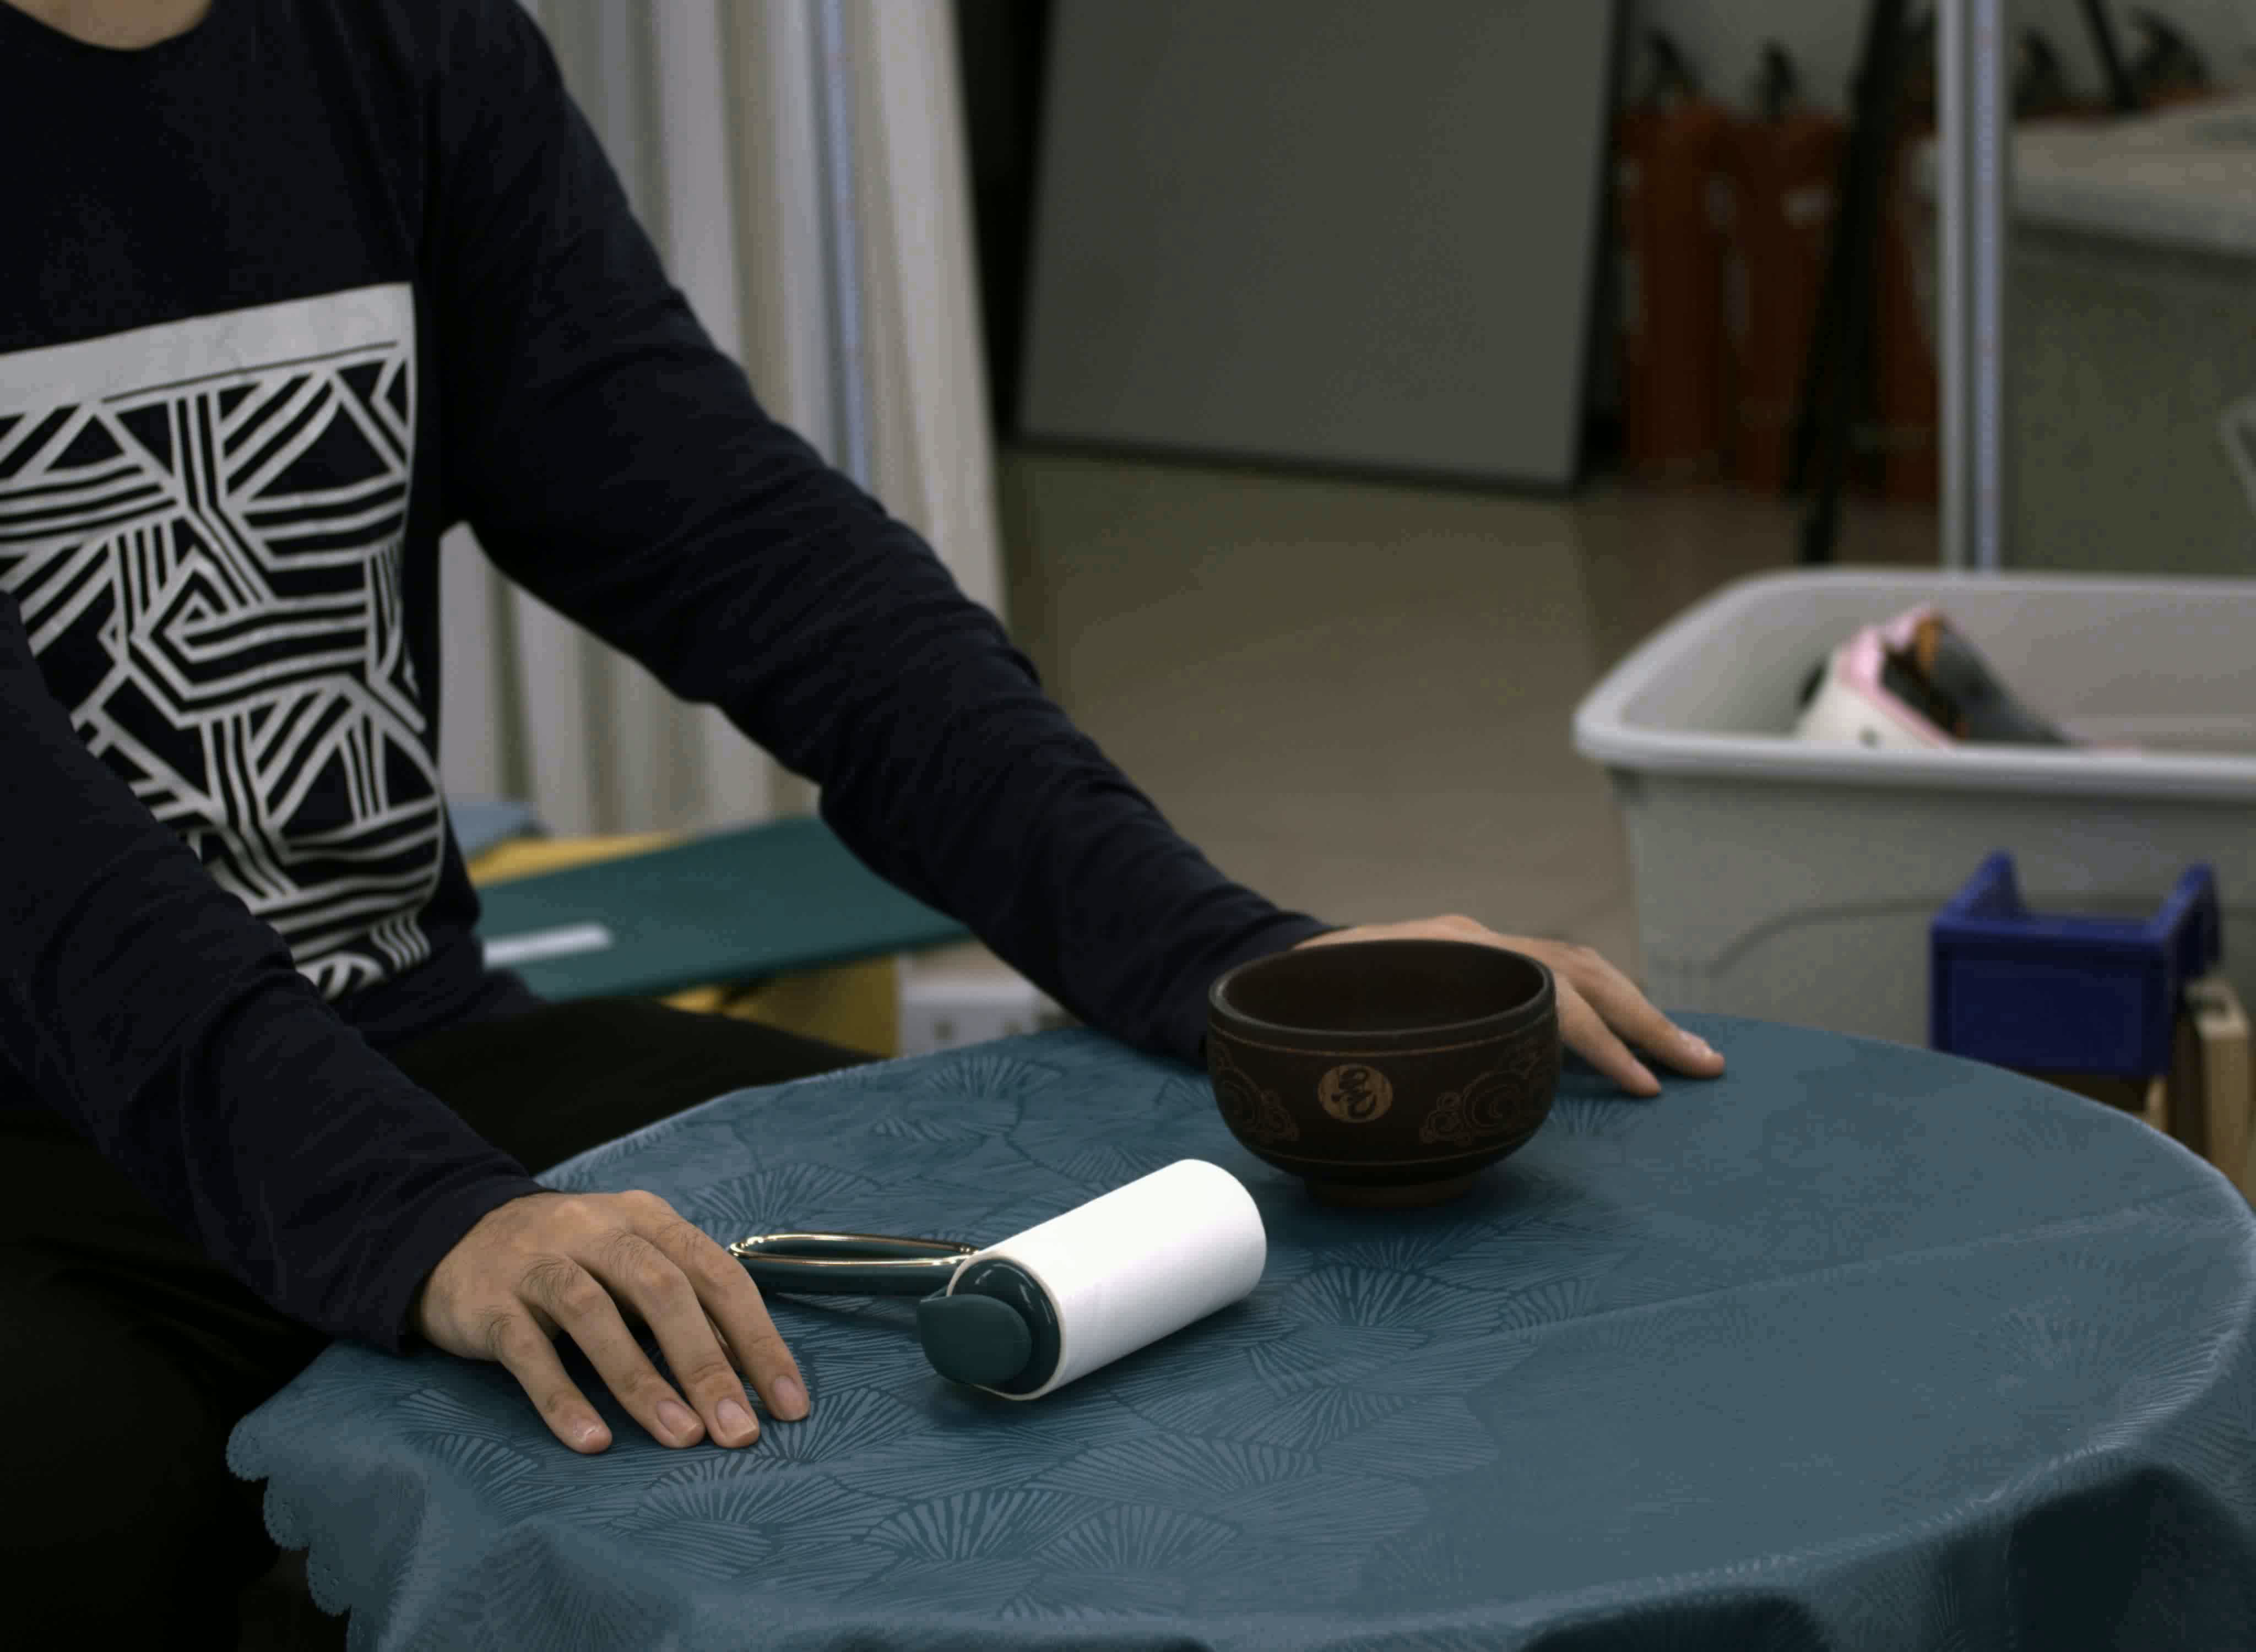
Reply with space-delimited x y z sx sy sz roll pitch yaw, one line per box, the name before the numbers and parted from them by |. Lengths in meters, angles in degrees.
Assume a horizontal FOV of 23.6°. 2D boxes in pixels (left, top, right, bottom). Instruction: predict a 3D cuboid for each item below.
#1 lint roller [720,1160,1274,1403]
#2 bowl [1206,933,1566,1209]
lint roller | -0.058 0.133 1.659 0.181 0.049 0.132 3 15 39
bowl | 0.086 0.083 1.754 0.116 0.070 0.118 -7 13 1
